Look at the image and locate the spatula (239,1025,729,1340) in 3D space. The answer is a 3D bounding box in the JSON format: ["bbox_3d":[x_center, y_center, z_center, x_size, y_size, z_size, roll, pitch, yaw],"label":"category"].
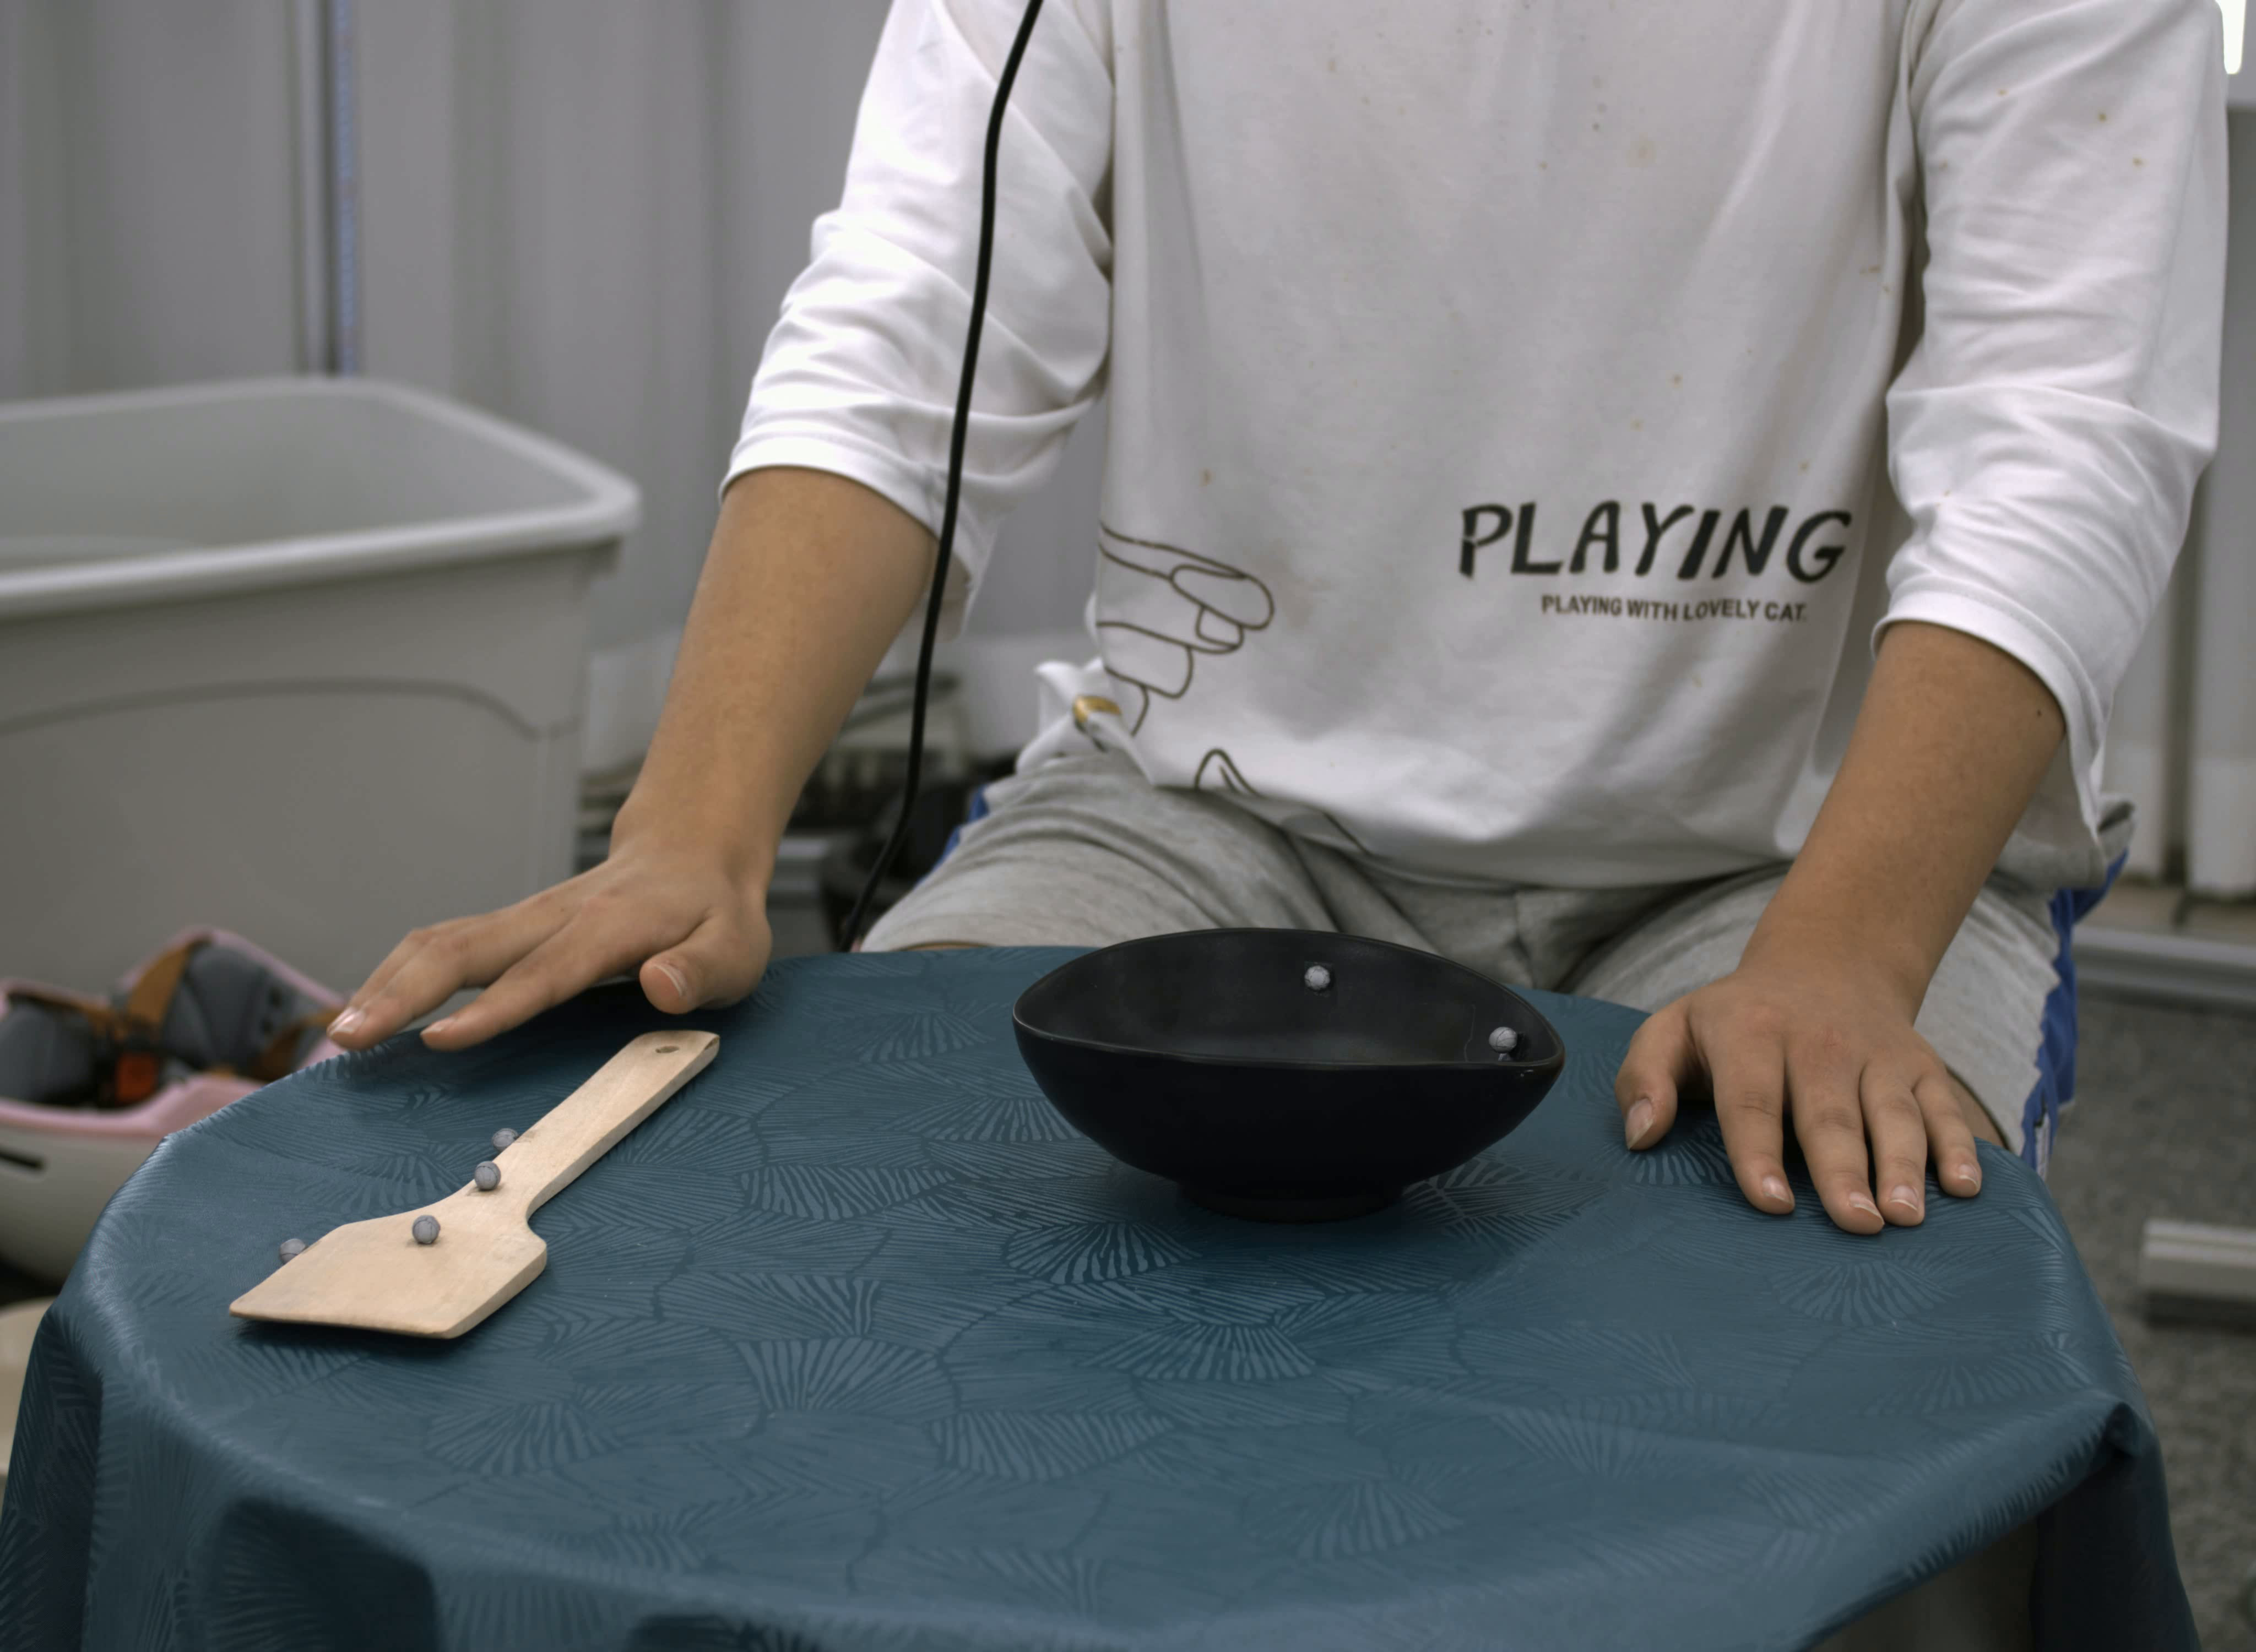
[{"bbox_3d":[-0.184,0.106,1.624,0.071,0.011,0.293,4,16,15],"label":"spatula"}]

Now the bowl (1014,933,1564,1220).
[{"bbox_3d":[0.049,0.081,1.627,0.170,0.067,0.136,3,15,0],"label":"bowl"}]
